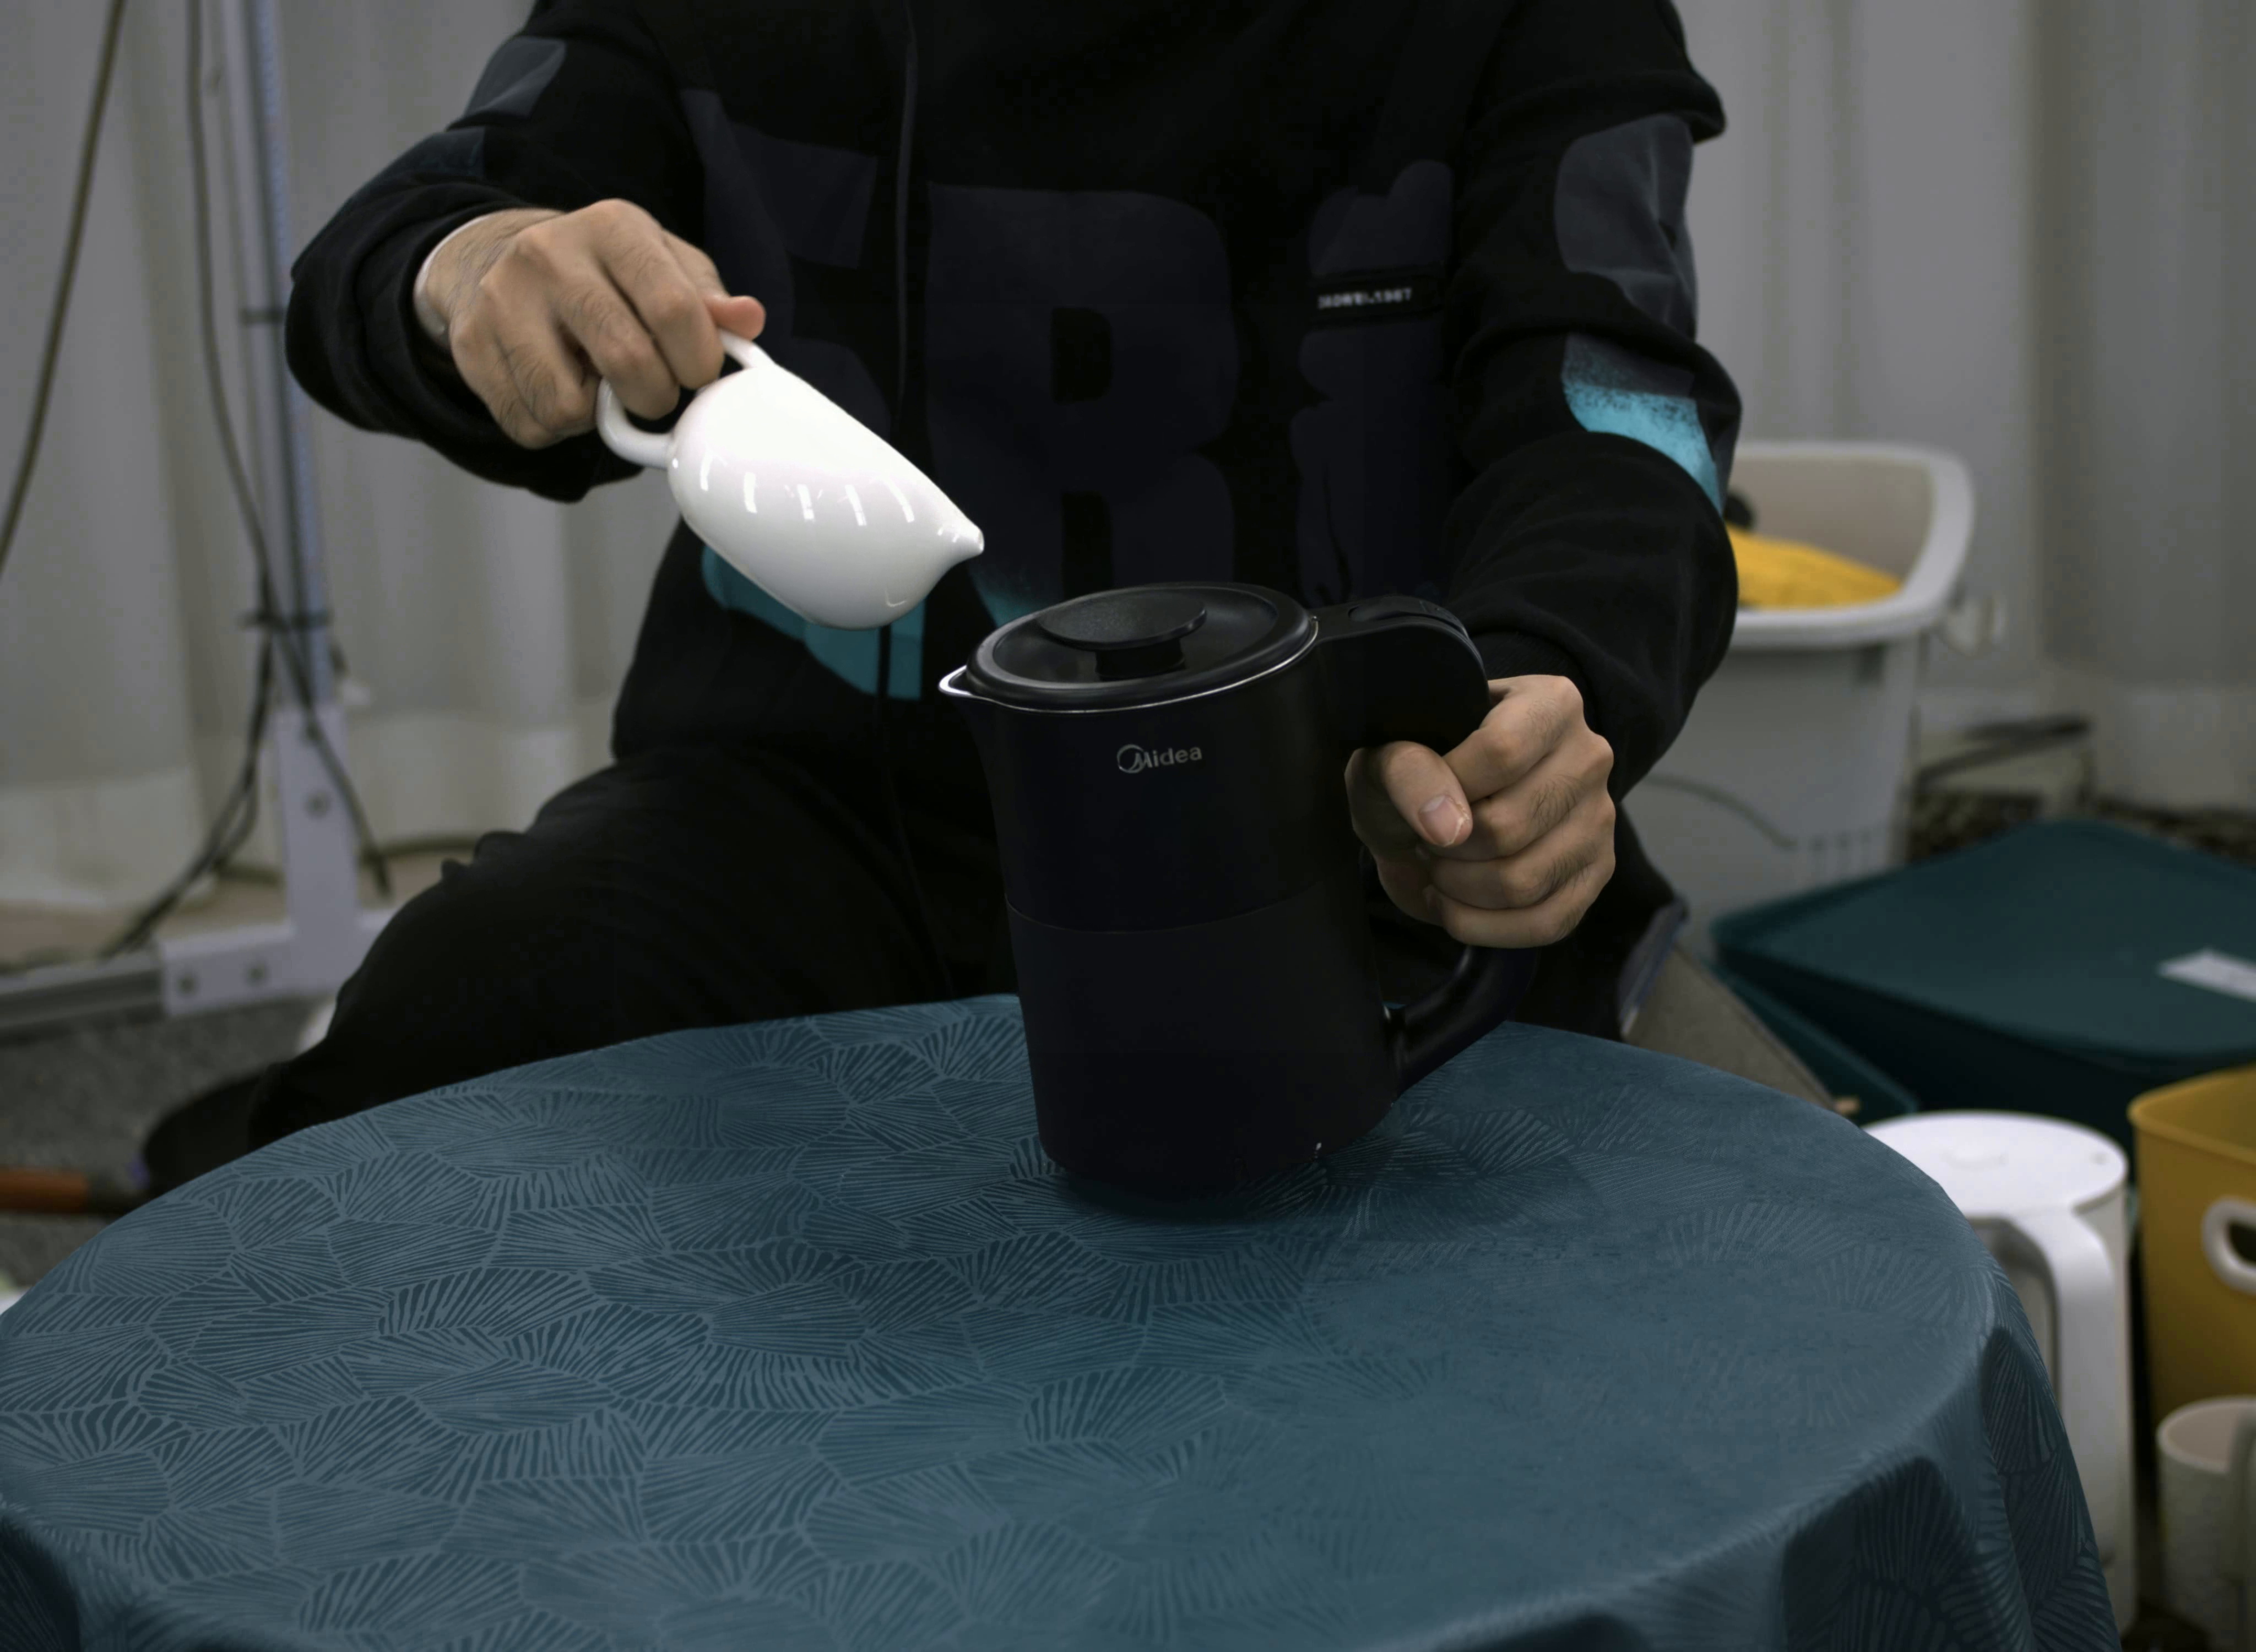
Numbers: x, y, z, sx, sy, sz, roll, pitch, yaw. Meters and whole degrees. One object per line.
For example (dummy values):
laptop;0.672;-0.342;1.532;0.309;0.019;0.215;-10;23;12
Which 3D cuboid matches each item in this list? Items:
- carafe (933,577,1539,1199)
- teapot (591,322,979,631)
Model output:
carafe;0.037;0.008;1.698;0.171;0.172;0.115;-12;17;-3
teapot;-0.108;-0.106;1.675;0.127;0.056;0.093;38;7;2
